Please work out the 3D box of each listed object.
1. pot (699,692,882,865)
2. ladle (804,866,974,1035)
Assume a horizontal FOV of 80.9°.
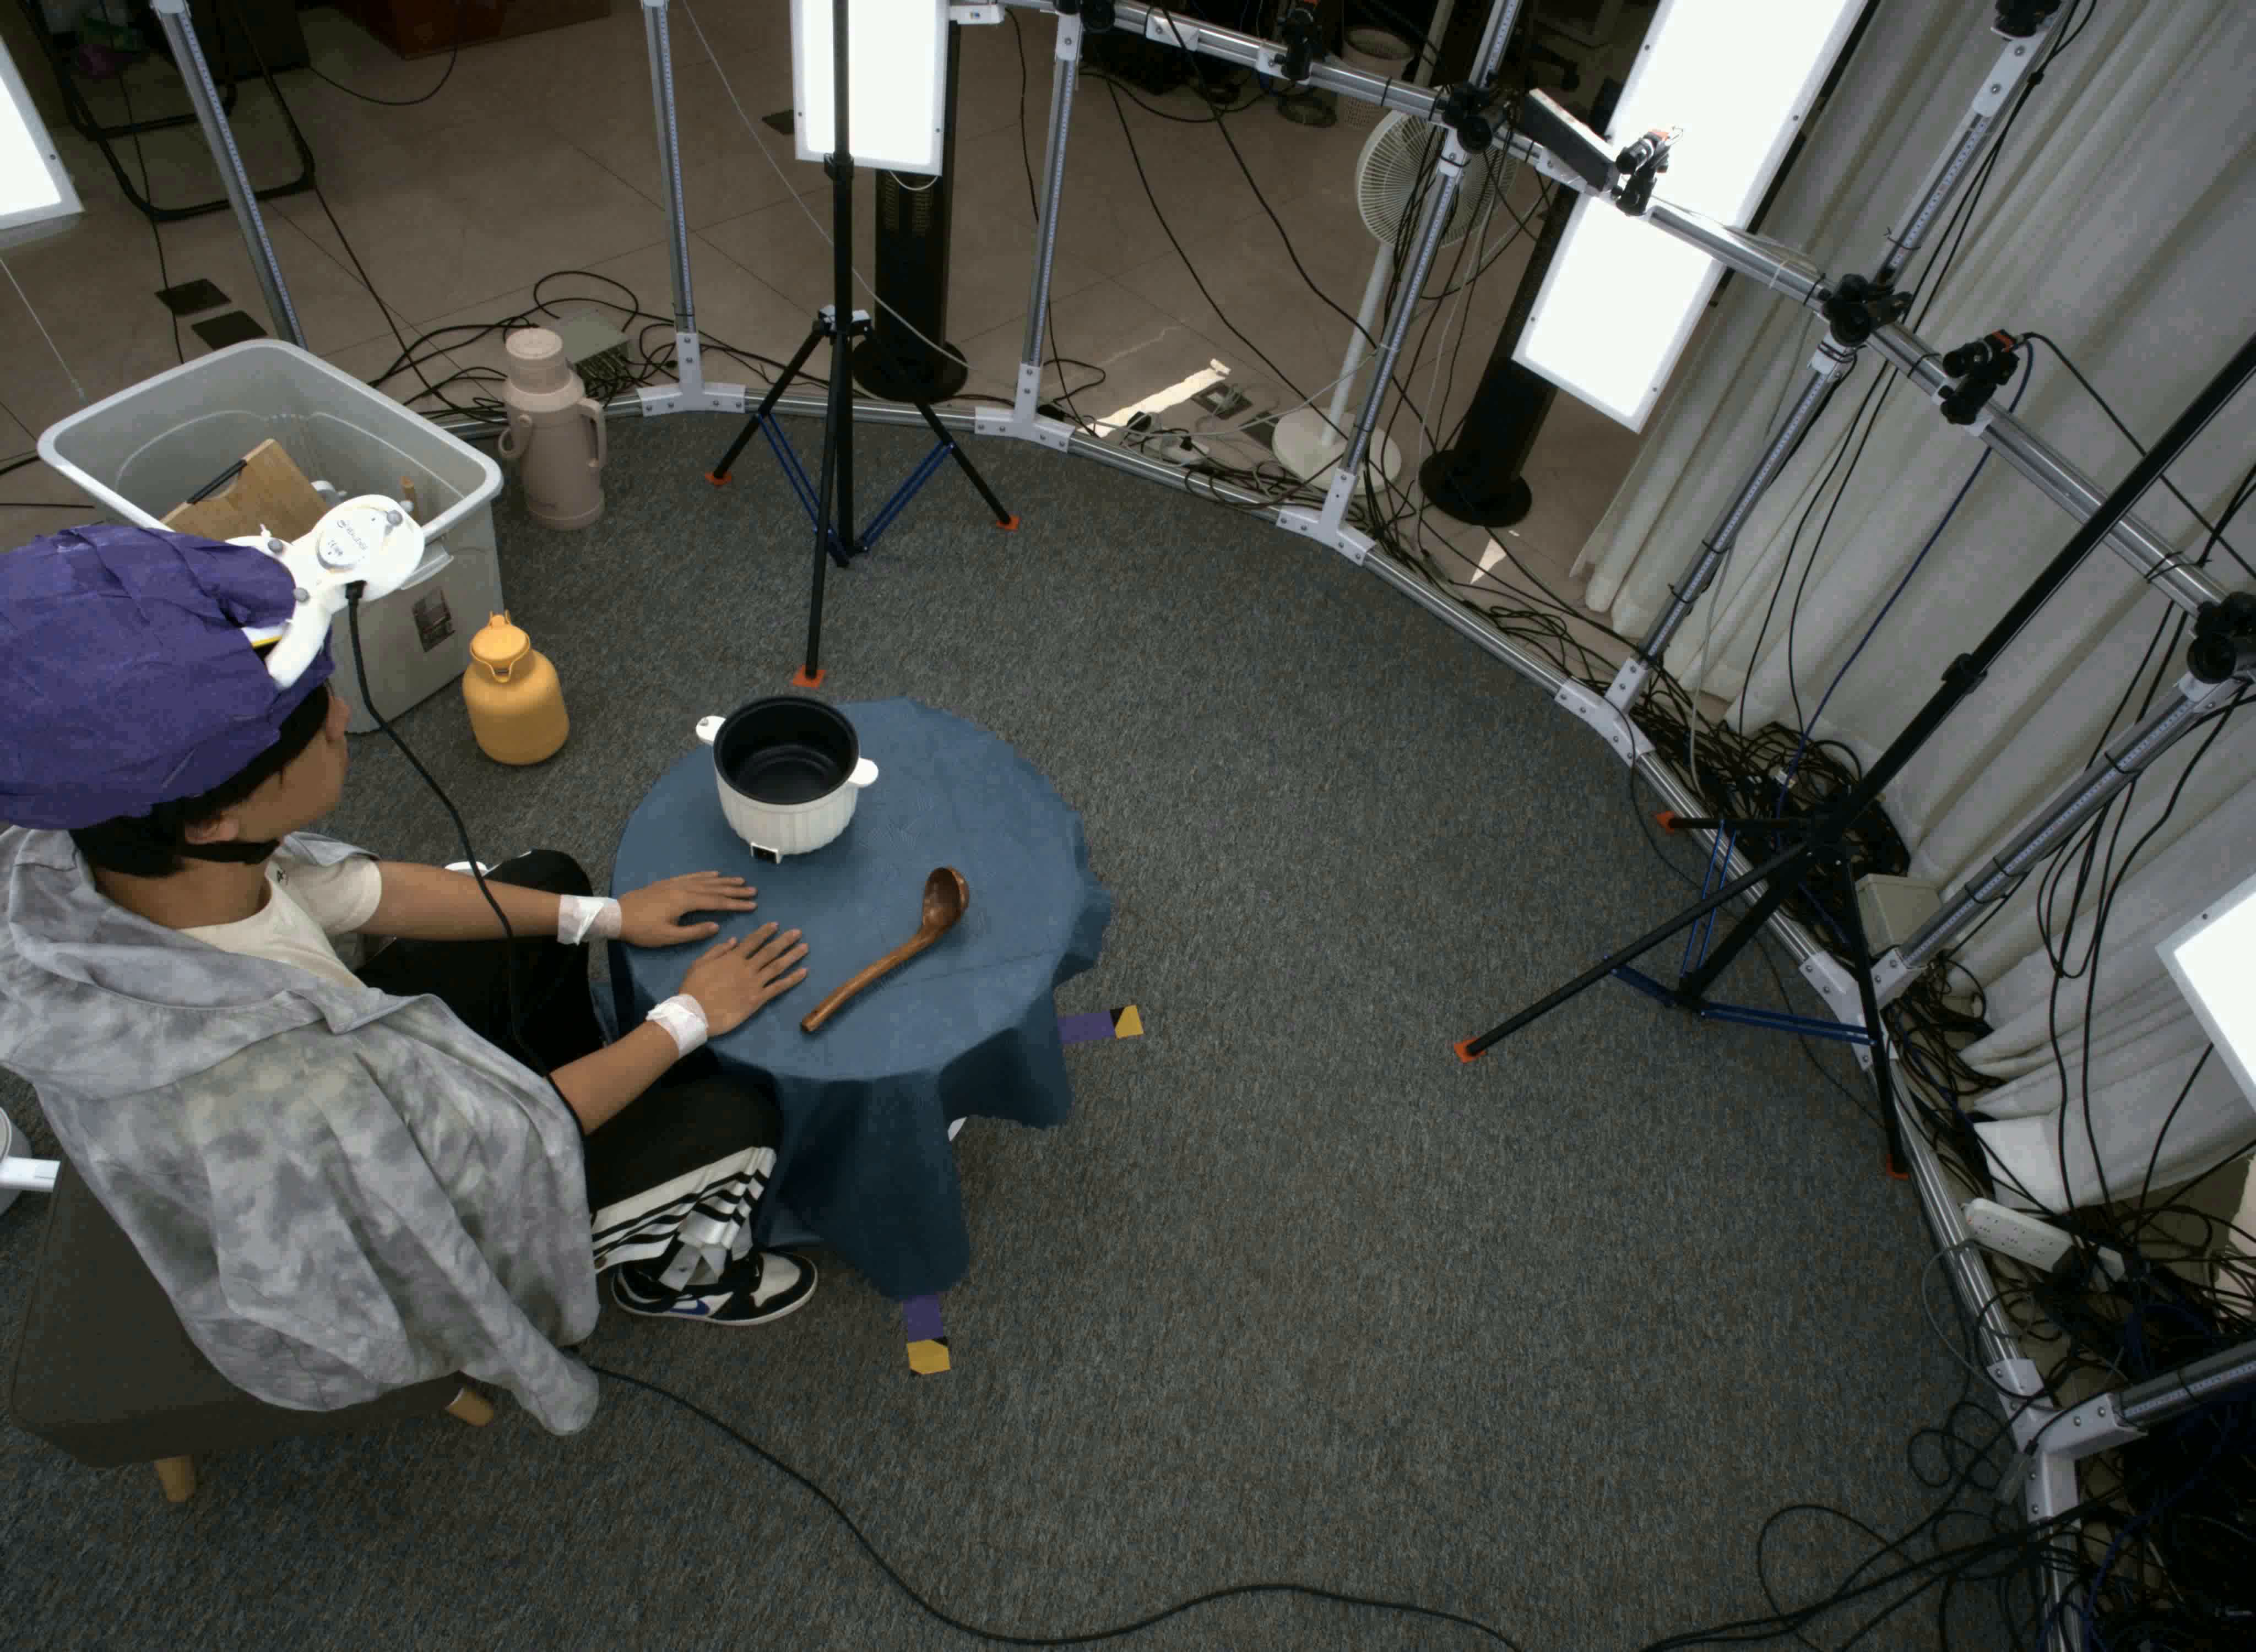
[{"bbox_3d":[-0.434,-0.064,1.682,0.238,0.145,0.188,17,55,-1],"label":"pot"},{"bbox_3d":[-0.299,0.146,1.604,0.274,0.079,0.079,-36,26,-31],"label":"ladle"}]
